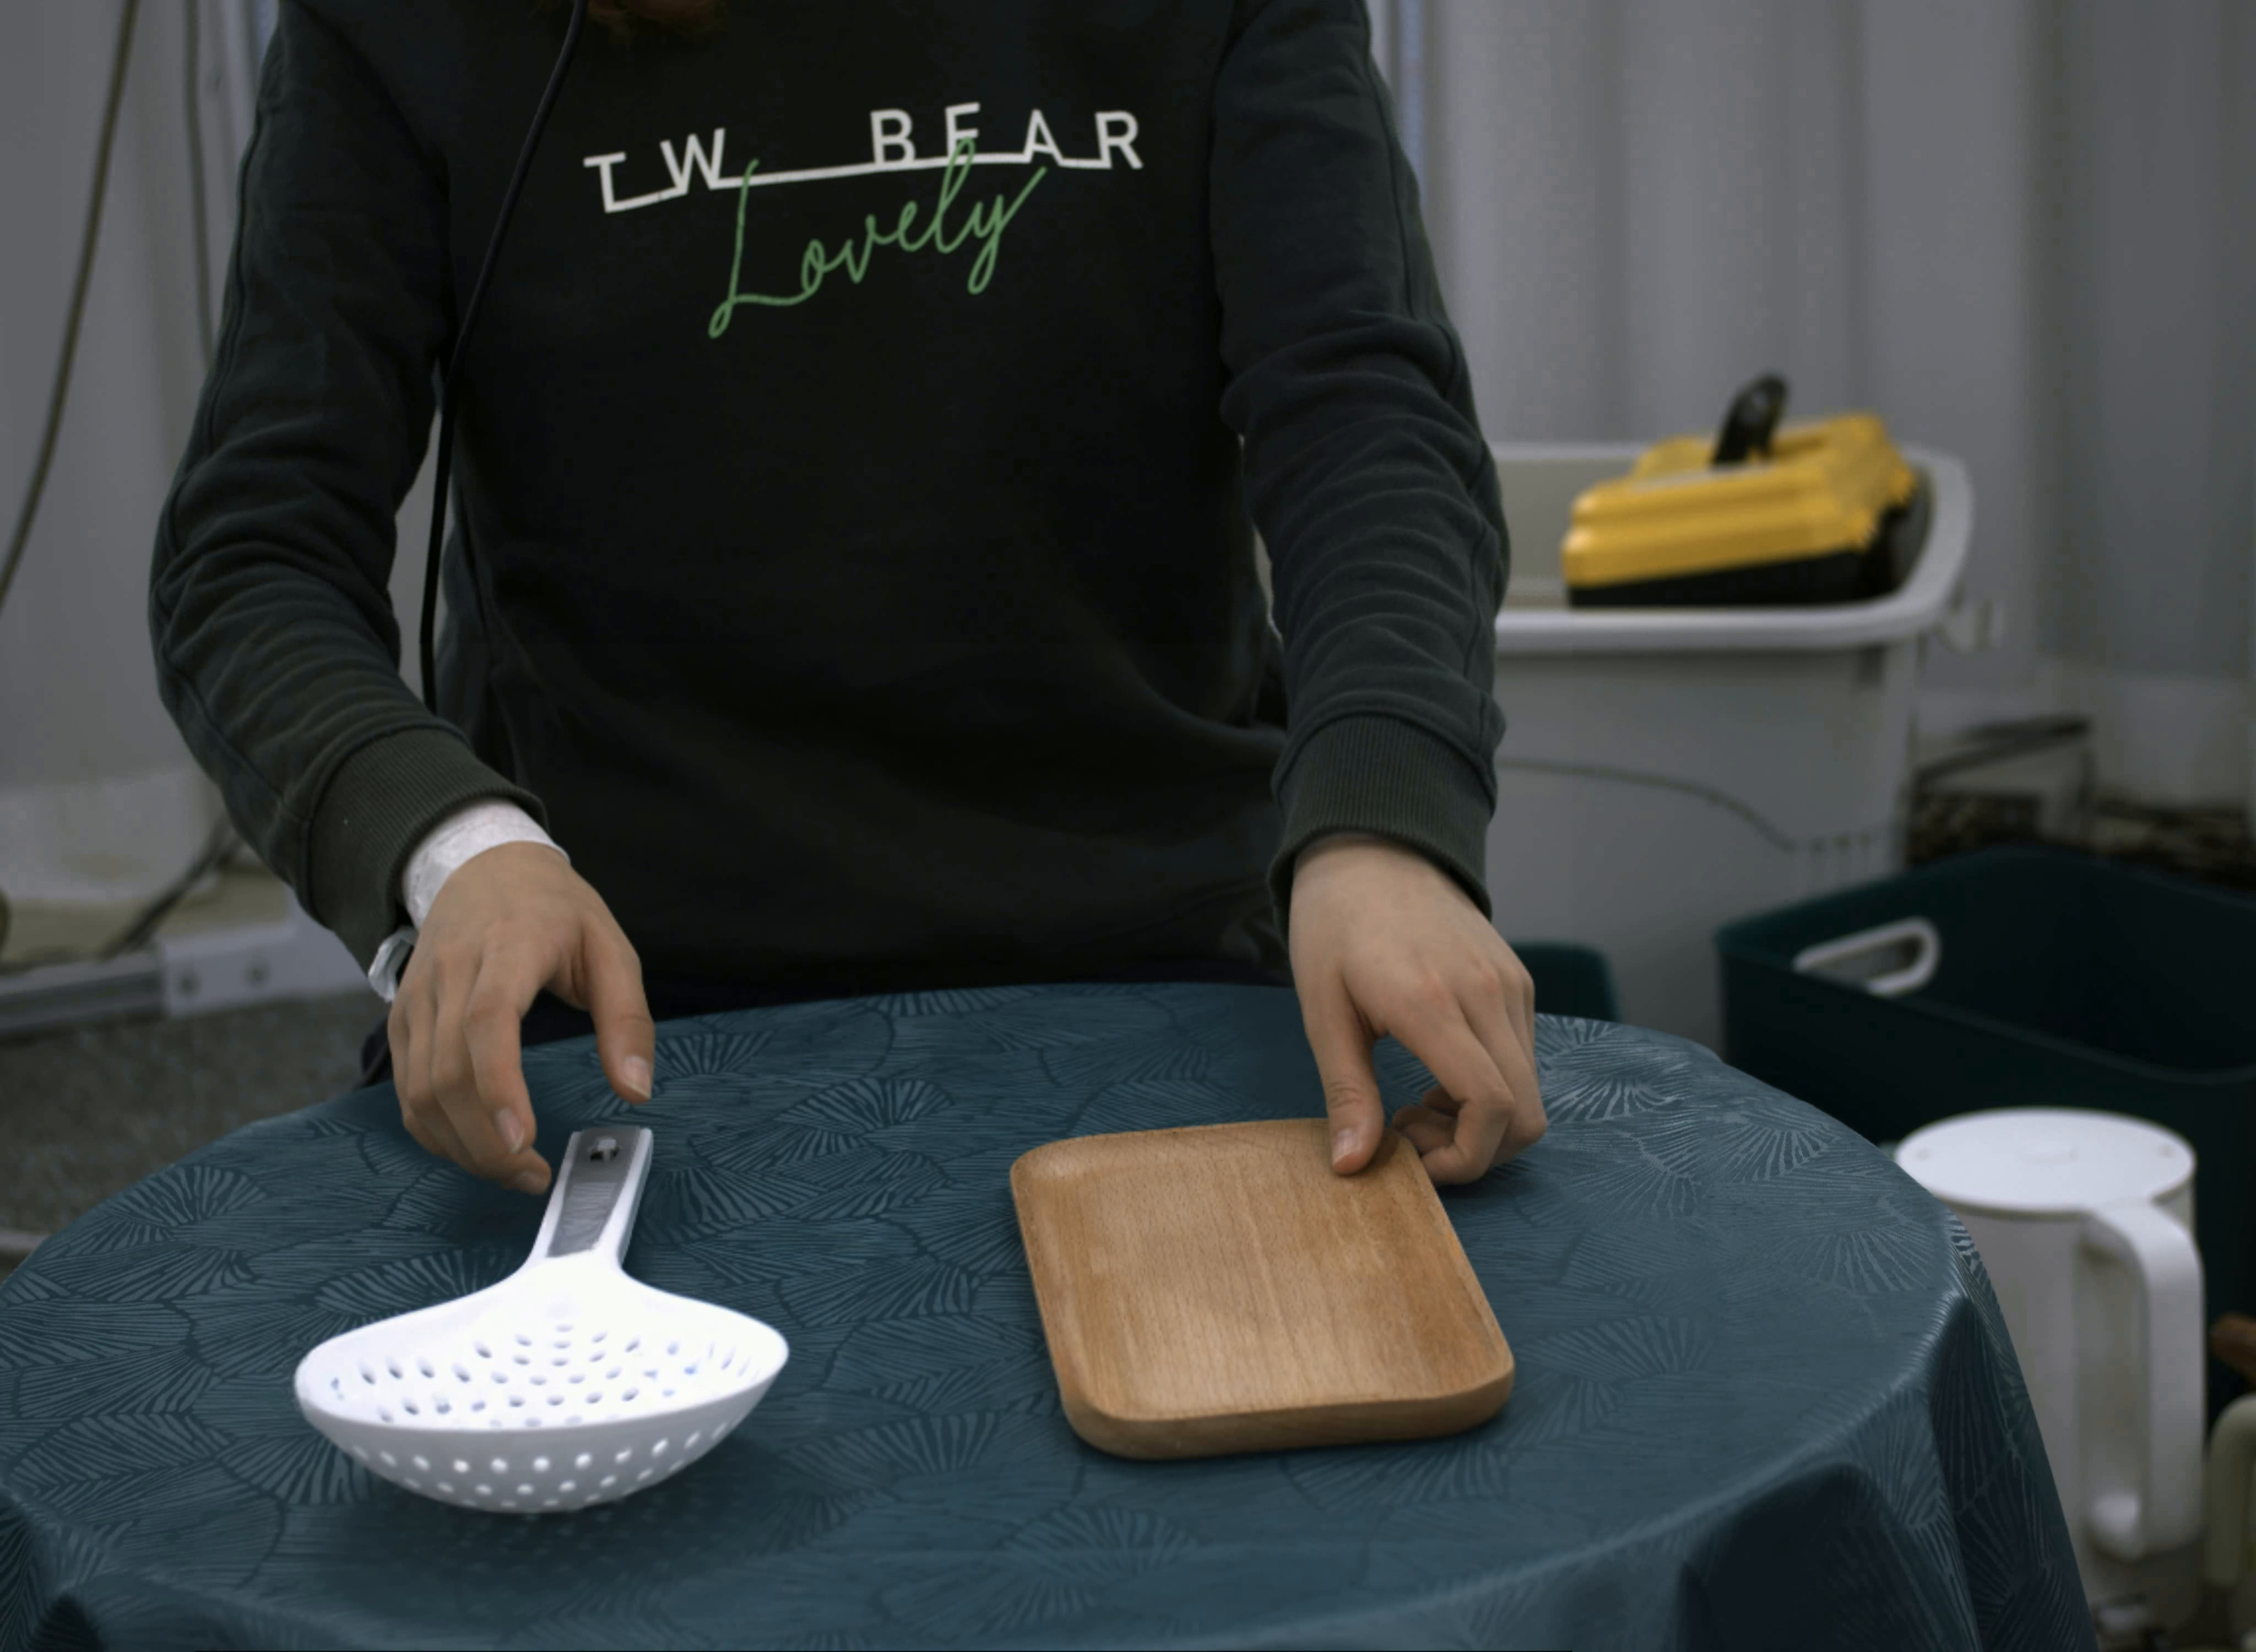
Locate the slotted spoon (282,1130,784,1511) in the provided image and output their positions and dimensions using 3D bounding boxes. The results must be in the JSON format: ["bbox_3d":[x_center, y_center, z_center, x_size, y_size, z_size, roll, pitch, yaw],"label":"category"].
[{"bbox_3d":[-0.162,0.134,1.586,0.135,0.045,0.352,-1,14,-1],"label":"slotted spoon"}]

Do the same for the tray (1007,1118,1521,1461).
[{"bbox_3d":[0.036,0.133,1.607,0.130,0.023,0.252,-2,14,-5],"label":"tray"}]
